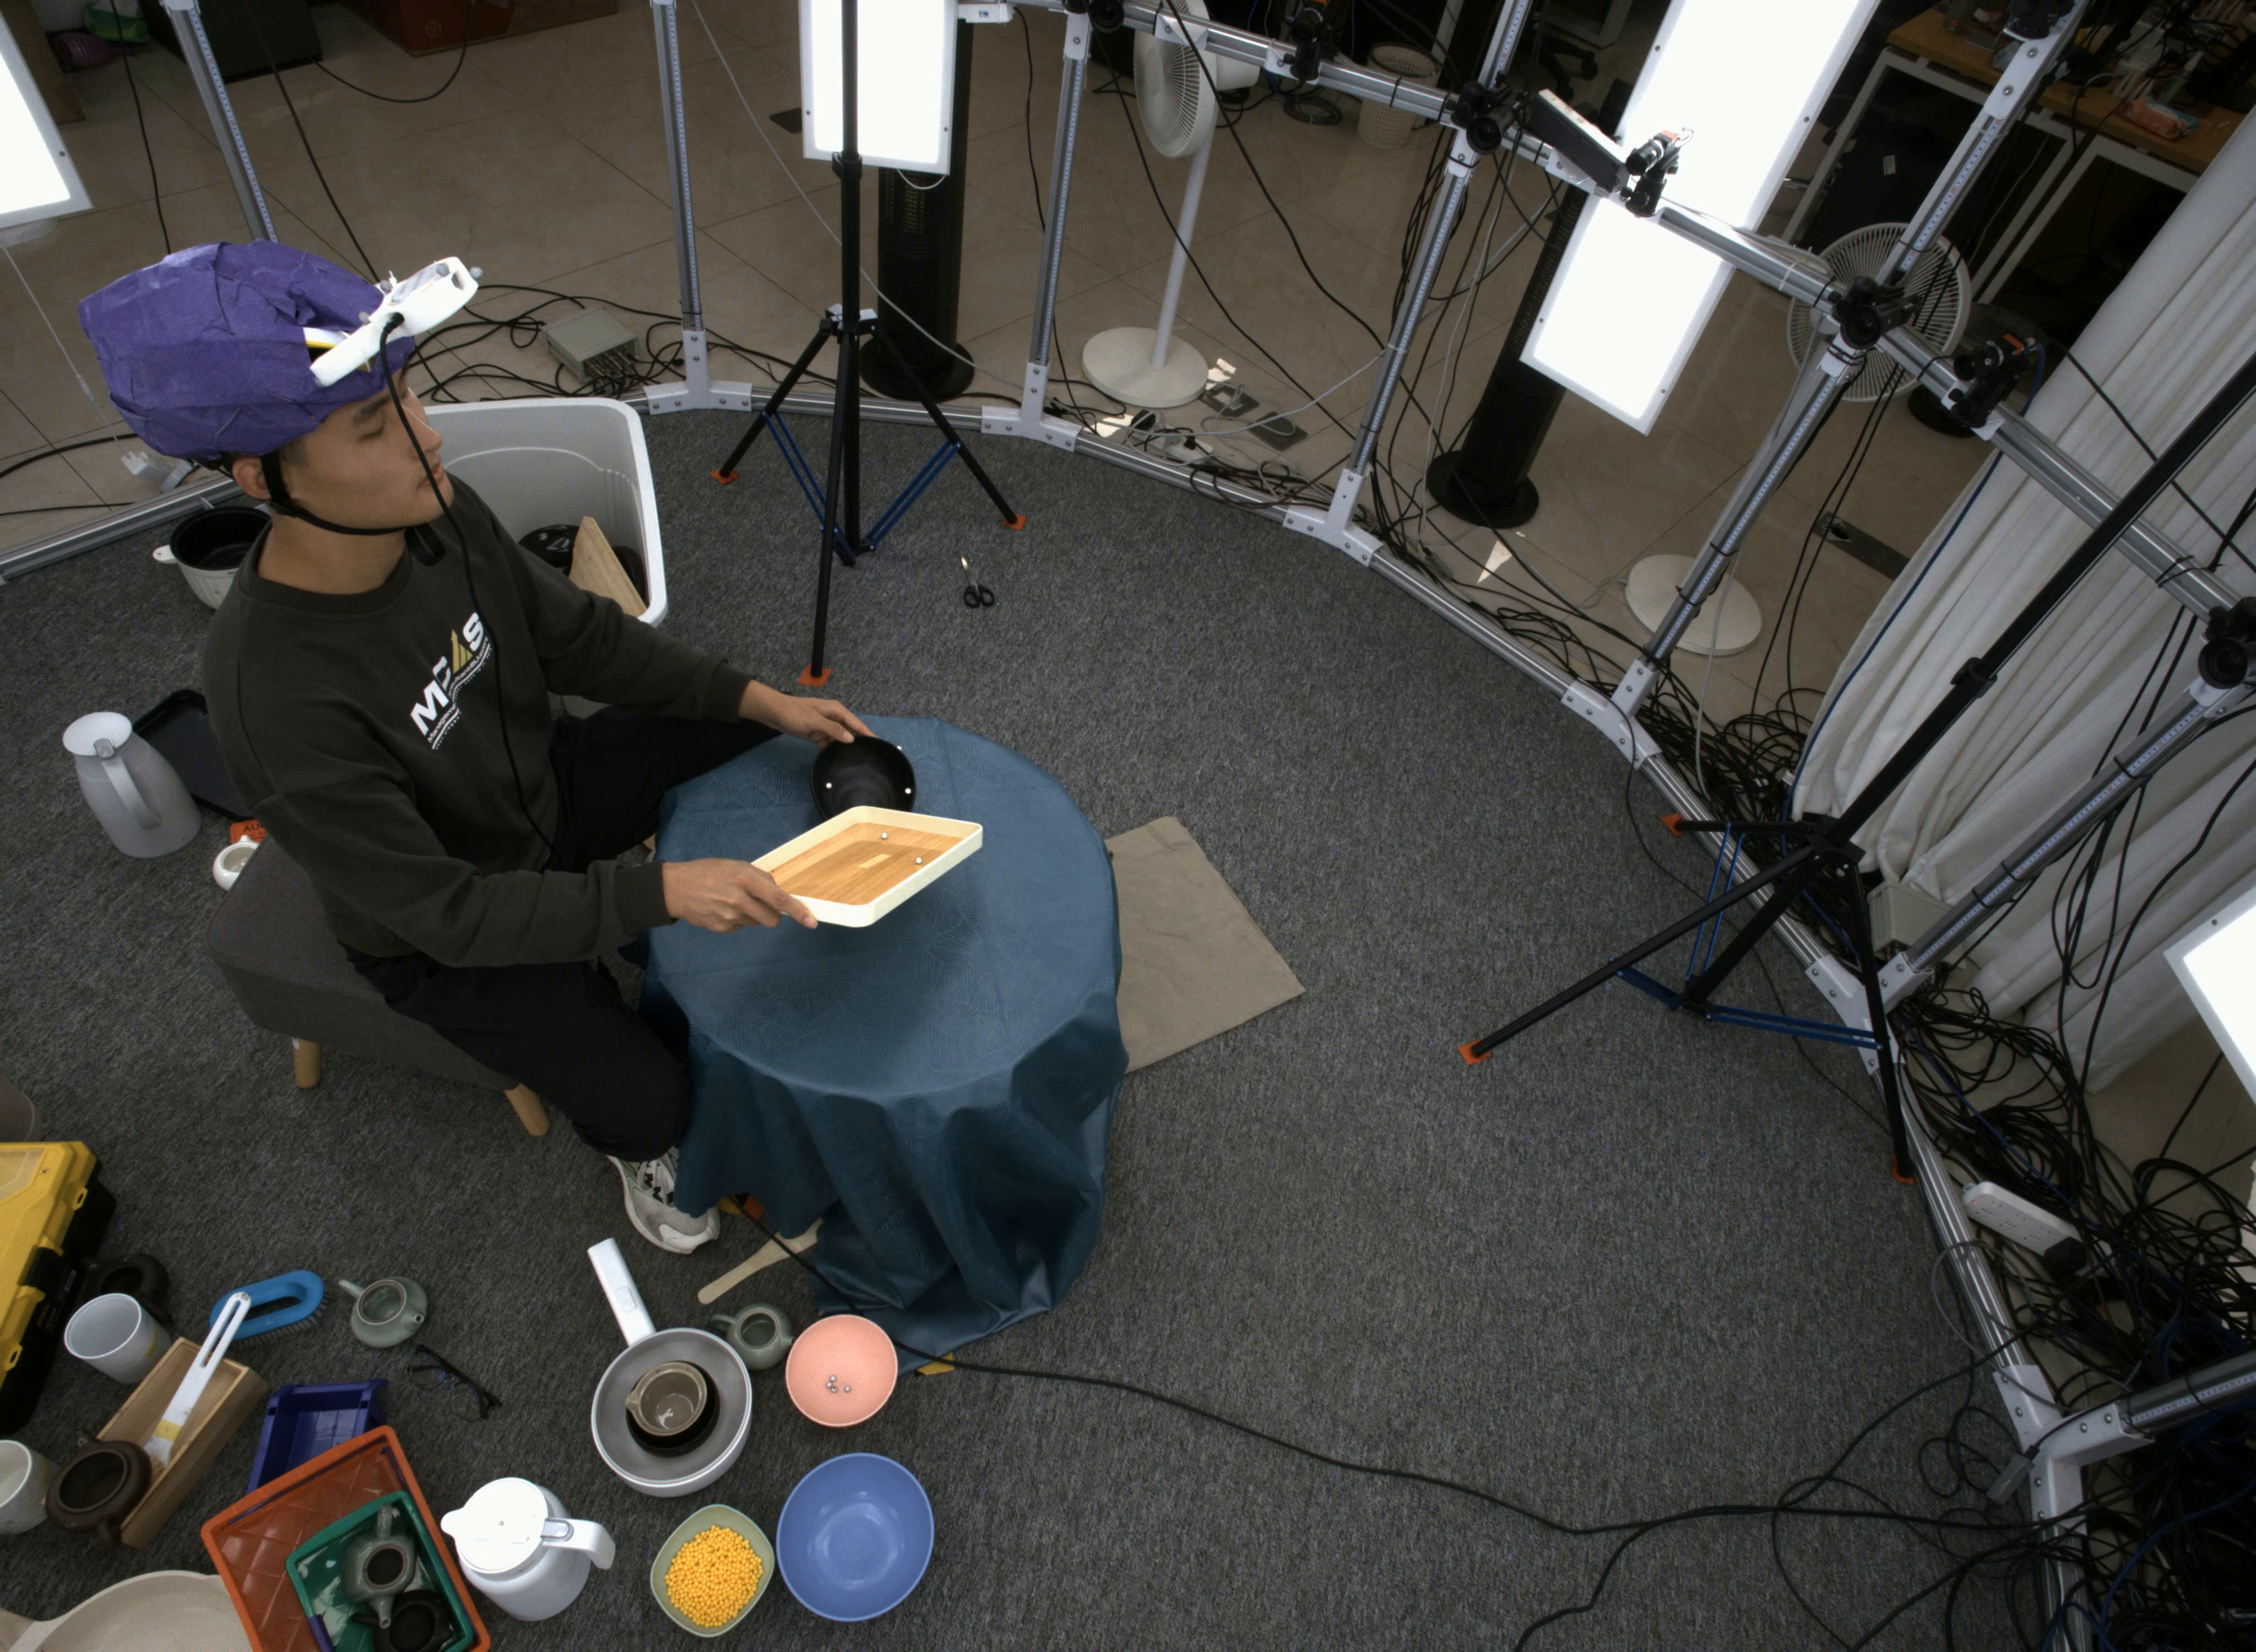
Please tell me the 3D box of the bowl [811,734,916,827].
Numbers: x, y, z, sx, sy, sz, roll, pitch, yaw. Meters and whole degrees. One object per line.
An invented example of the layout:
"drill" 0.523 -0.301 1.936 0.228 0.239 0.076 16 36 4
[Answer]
"bowl" -0.353 -0.038 1.738 0.138 0.067 0.167 -7 63 -18

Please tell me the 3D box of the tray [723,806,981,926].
"tray" -0.321 0.040 1.553 0.186 0.028 0.300 9 20 18
